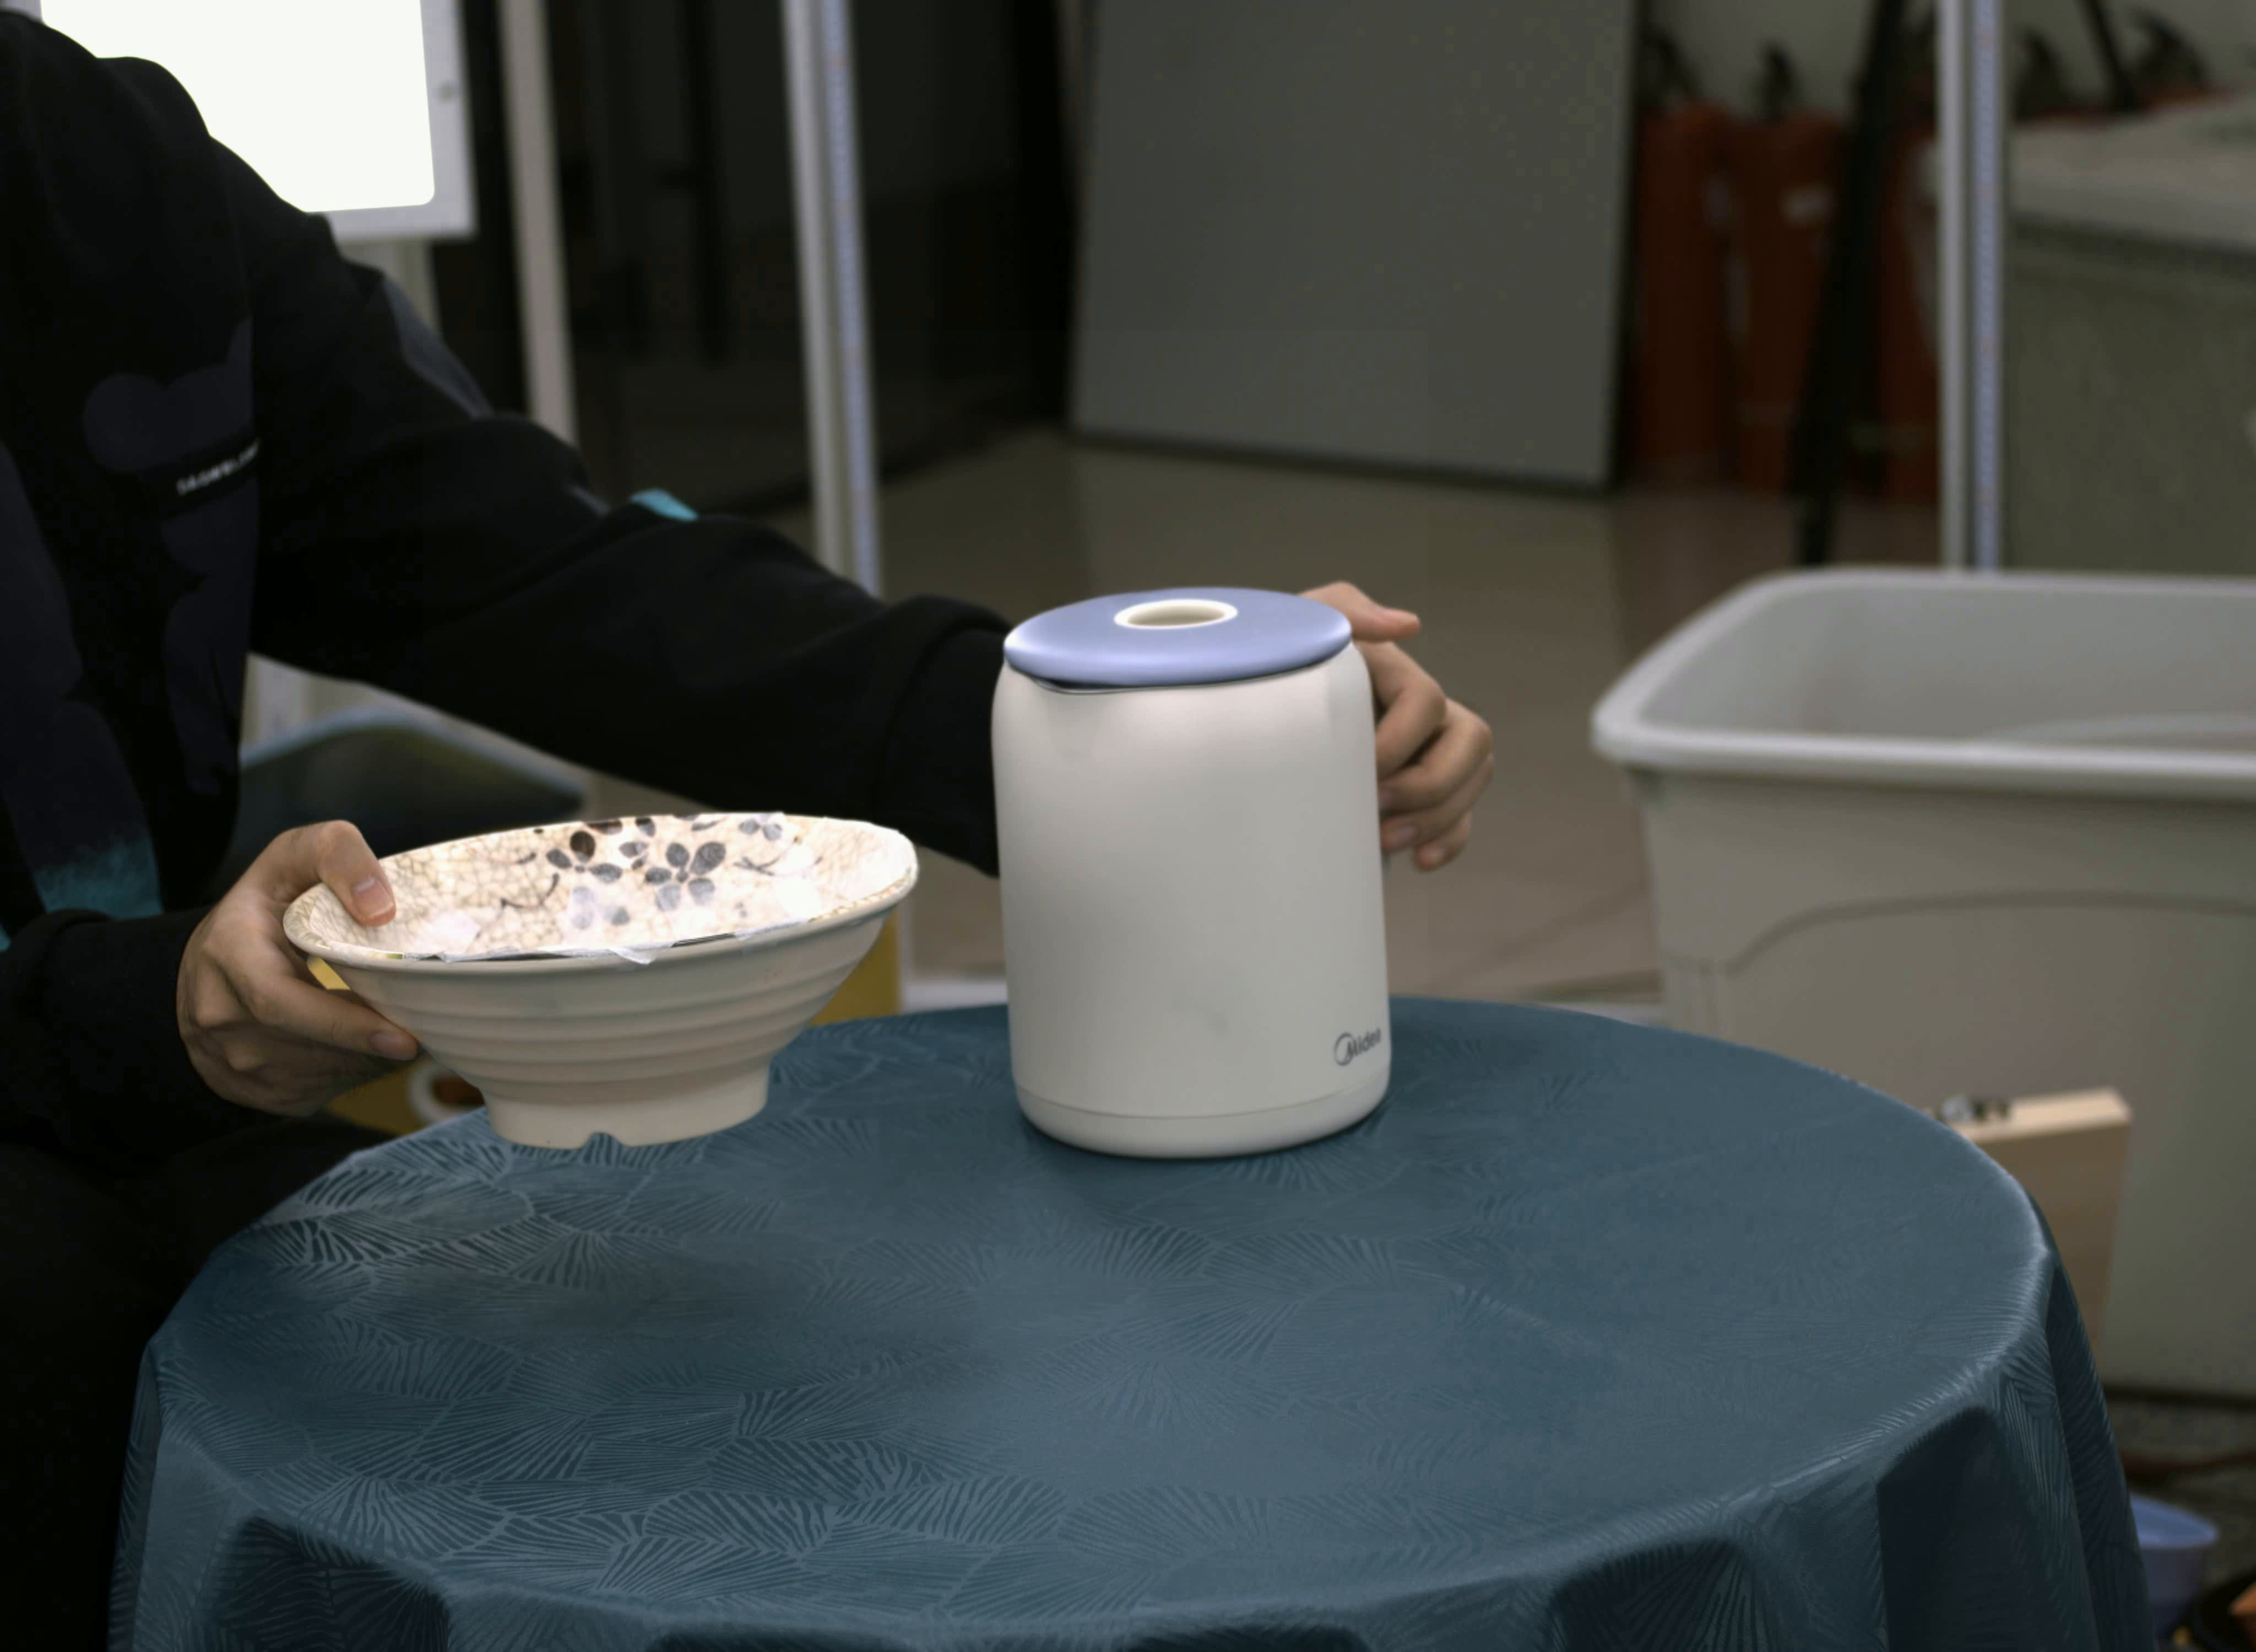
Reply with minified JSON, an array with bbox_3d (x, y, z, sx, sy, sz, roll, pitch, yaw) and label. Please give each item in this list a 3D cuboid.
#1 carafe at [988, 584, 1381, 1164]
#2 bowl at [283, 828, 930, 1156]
[{"bbox_3d":[0.032,0.010,1.854,0.133,0.184,0.188,6,15,32],"label":"carafe"},{"bbox_3d":[-0.158,0.055,1.688,0.201,0.079,0.204,-6,8,0],"label":"bowl"}]
